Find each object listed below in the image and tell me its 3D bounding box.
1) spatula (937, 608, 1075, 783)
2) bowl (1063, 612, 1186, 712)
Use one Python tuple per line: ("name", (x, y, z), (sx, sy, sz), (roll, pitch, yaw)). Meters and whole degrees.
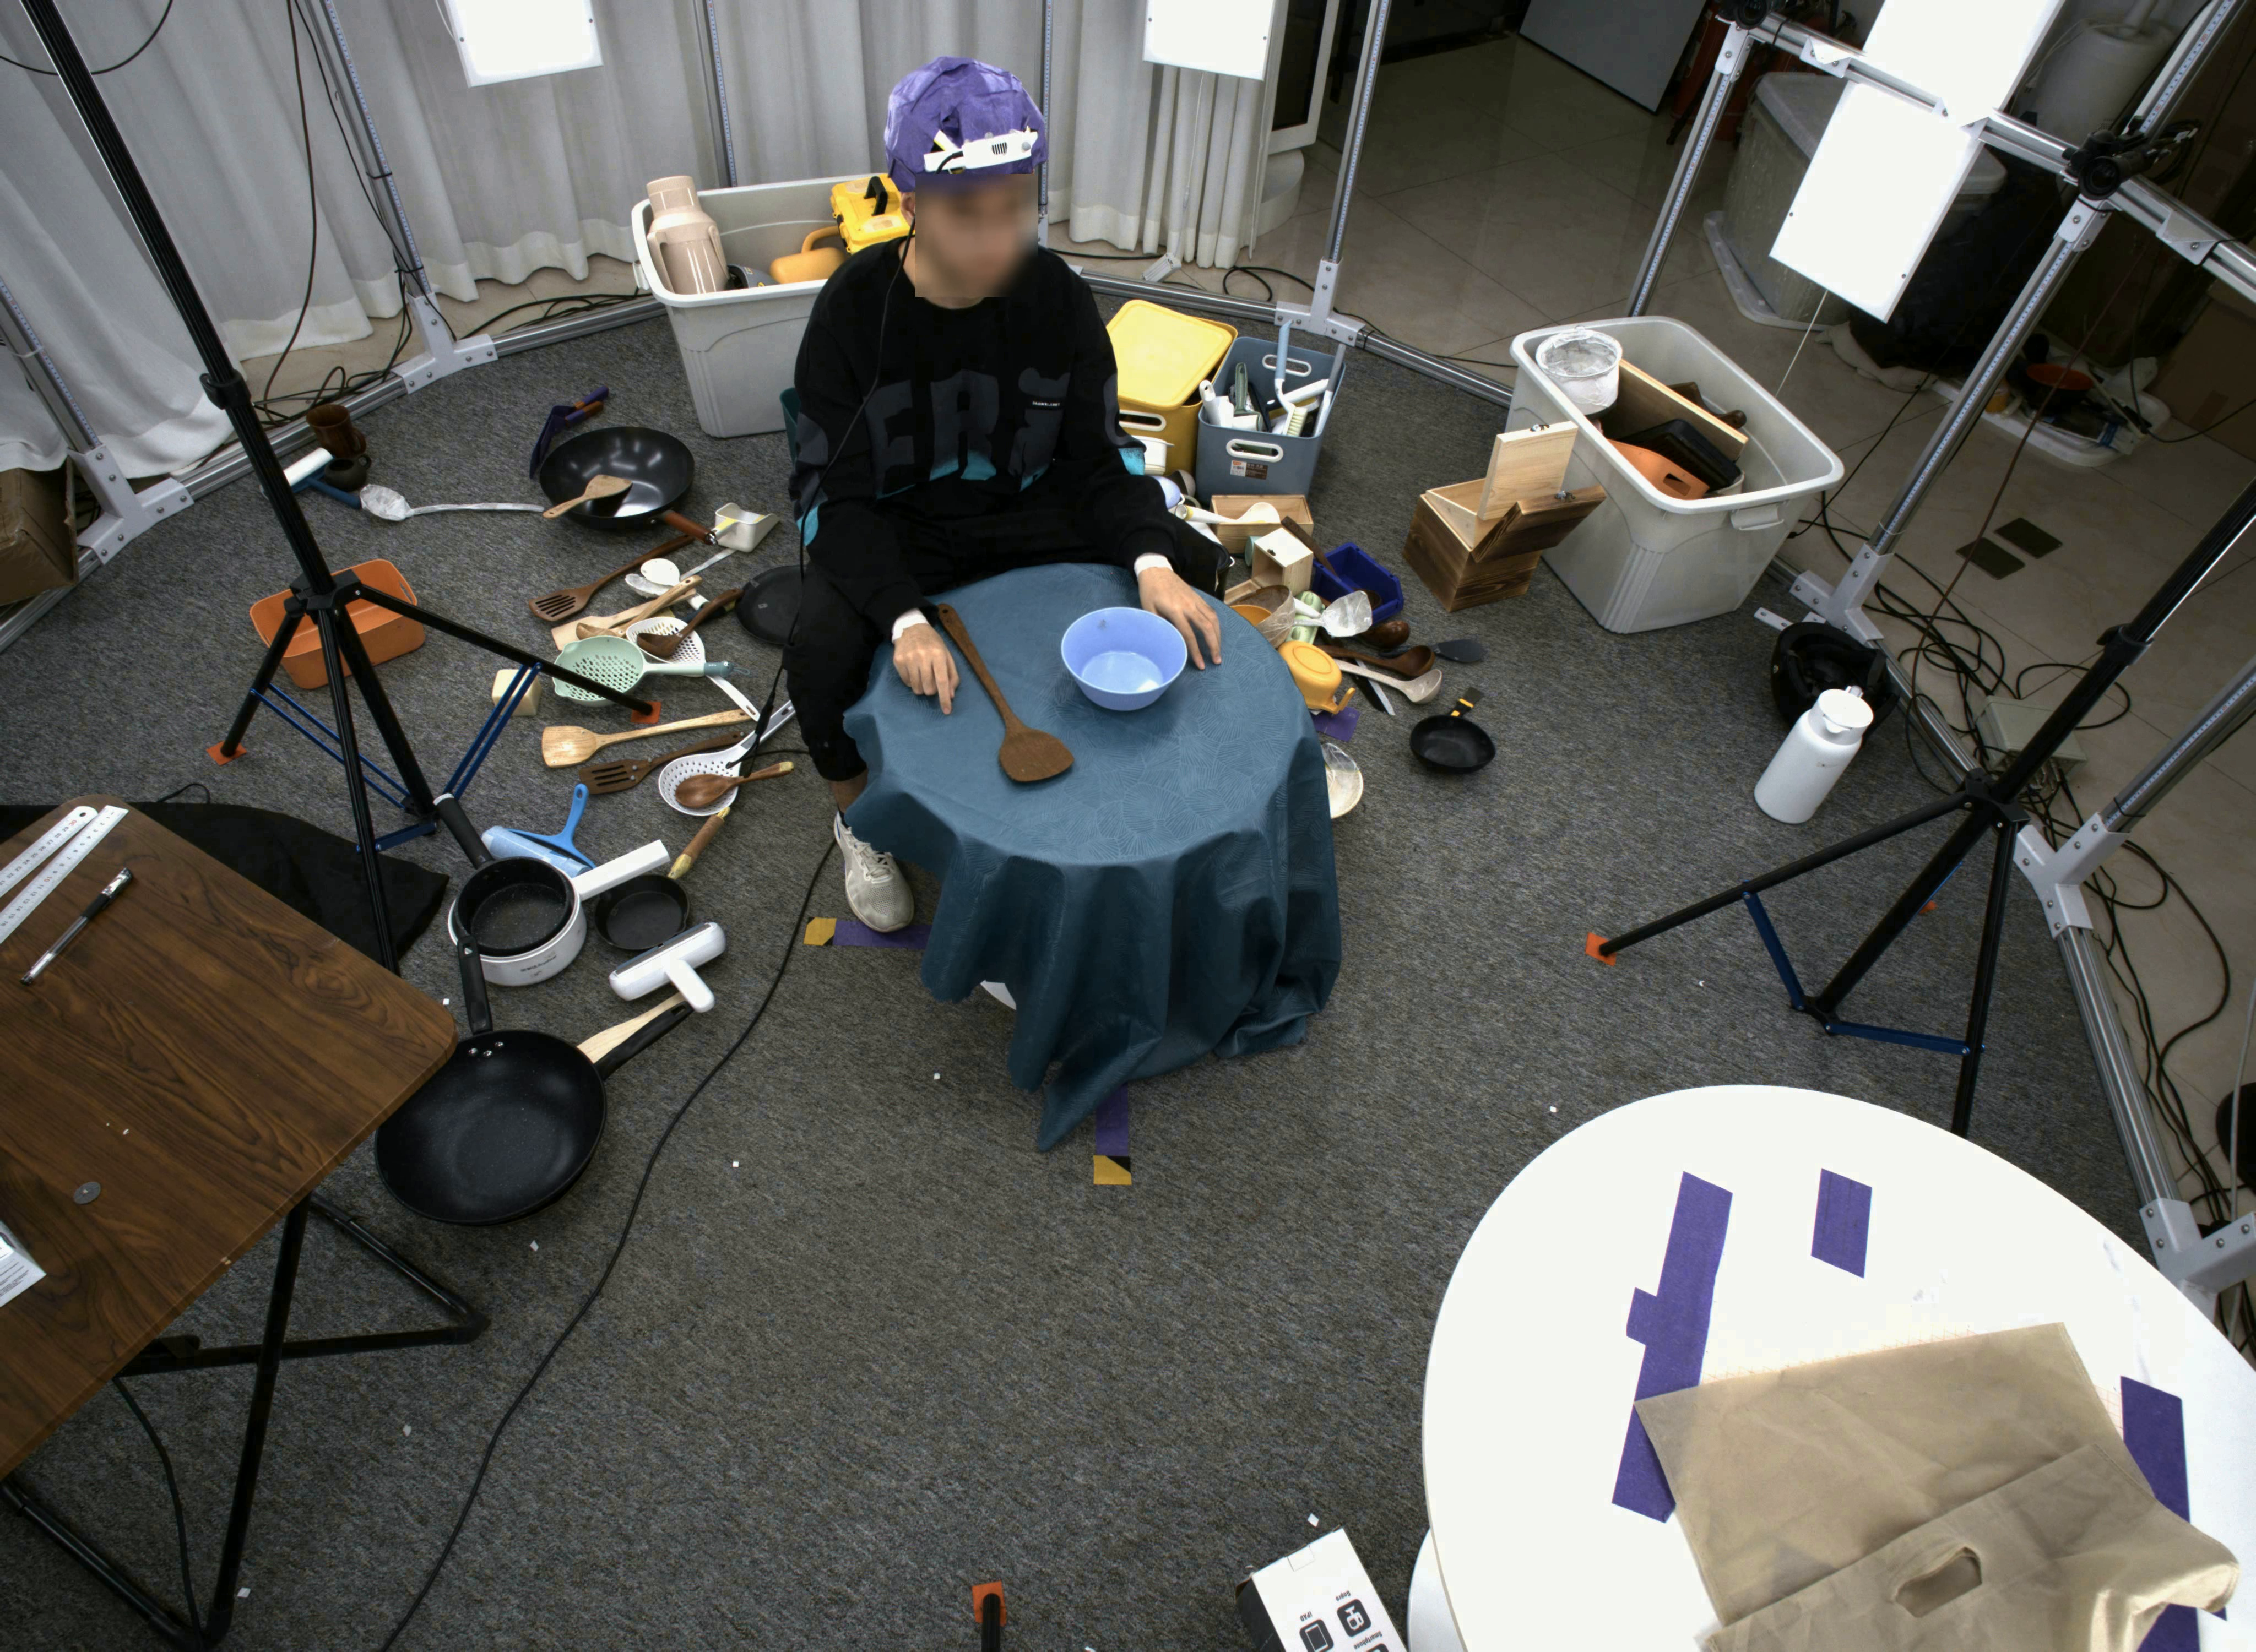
("spatula", (-0.193, -0.197, 1.834), (0.096, 0.015, 0.394), (-18, 52, -19))
("bowl", (-0.006, -0.225, 1.836), (0.176, 0.068, 0.180), (2, 47, -2))
